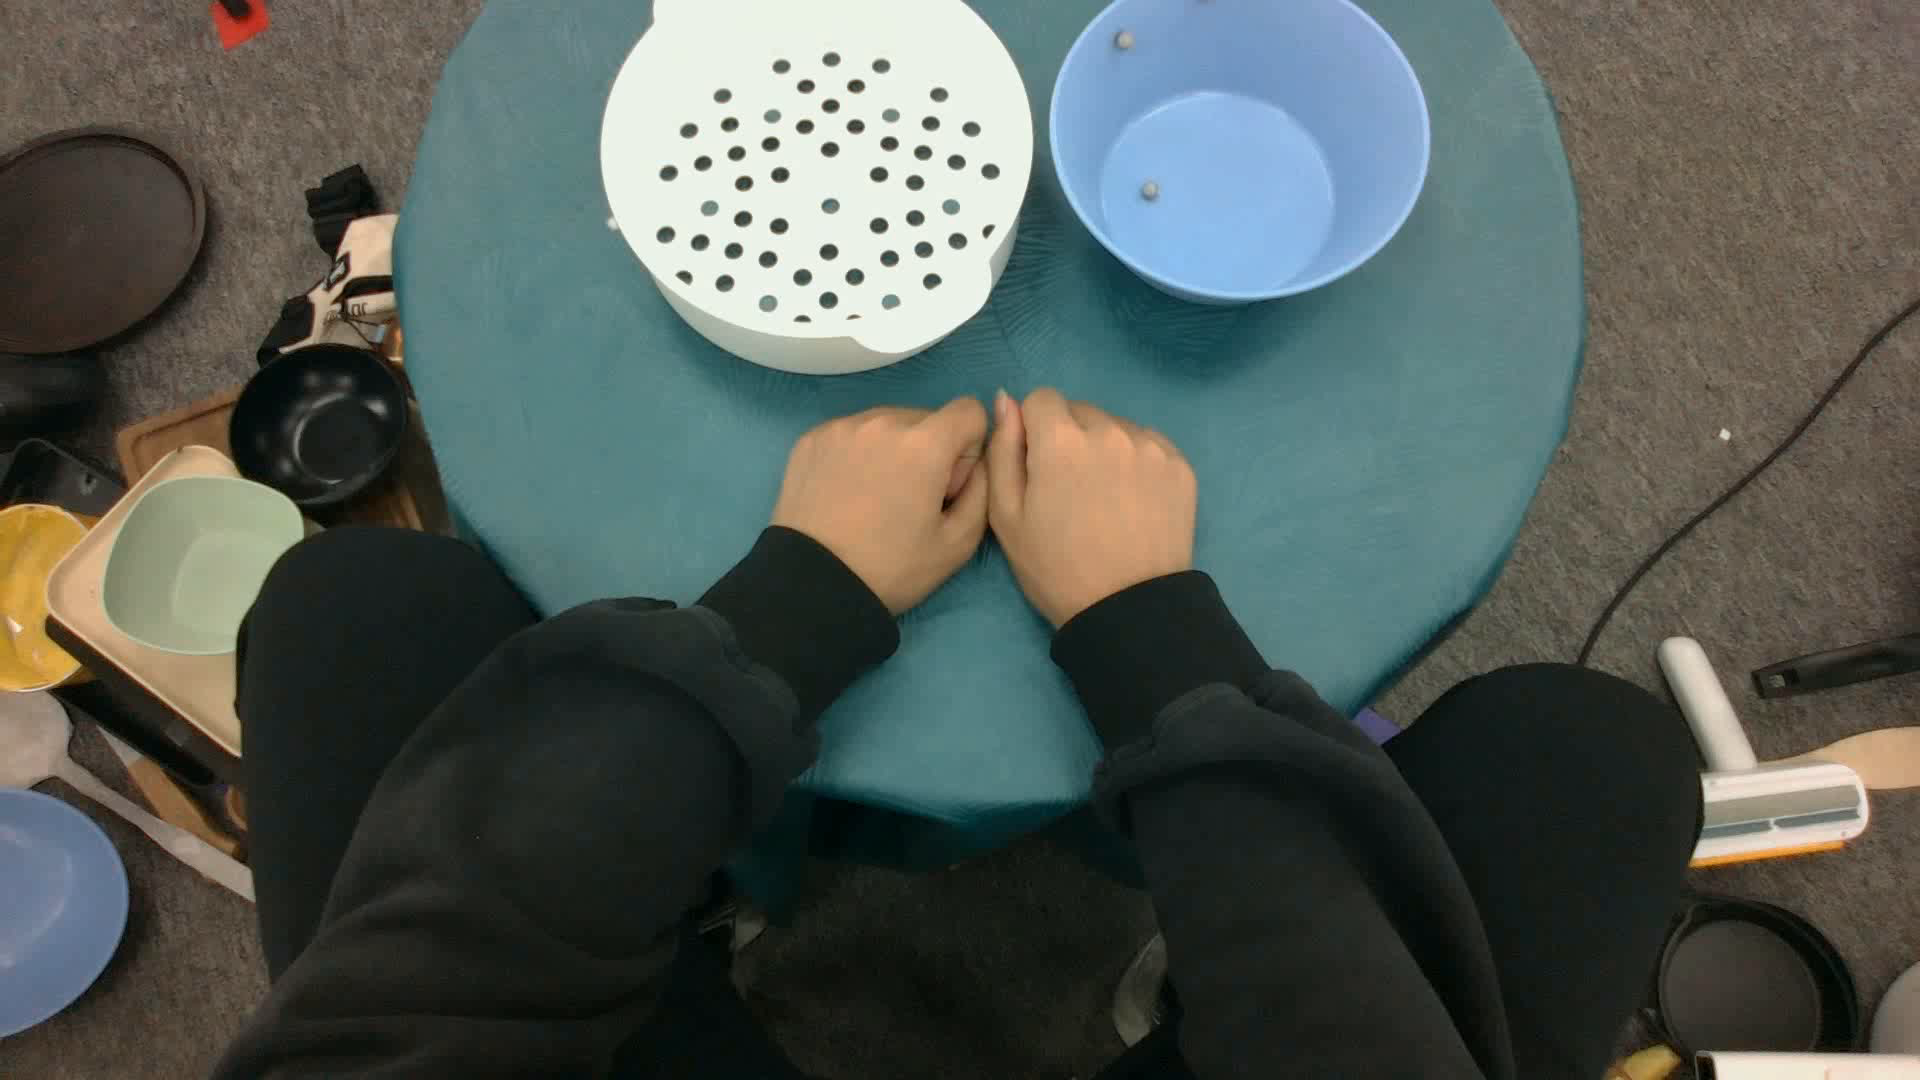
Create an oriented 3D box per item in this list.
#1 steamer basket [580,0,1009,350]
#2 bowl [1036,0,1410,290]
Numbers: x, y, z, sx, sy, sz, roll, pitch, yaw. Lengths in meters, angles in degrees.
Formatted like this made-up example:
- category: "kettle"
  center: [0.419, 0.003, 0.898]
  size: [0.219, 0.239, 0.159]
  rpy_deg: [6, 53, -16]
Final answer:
- category: "steamer basket"
  center: [-0.077, -0.190, 0.672]
  size: [0.202, 0.069, 0.231]
  rpy_deg: [-30, 74, -10]
- category: "bowl"
  center: [0.123, -0.190, 0.674]
  size: [0.176, 0.070, 0.176]
  rpy_deg: [0, 72, -1]
